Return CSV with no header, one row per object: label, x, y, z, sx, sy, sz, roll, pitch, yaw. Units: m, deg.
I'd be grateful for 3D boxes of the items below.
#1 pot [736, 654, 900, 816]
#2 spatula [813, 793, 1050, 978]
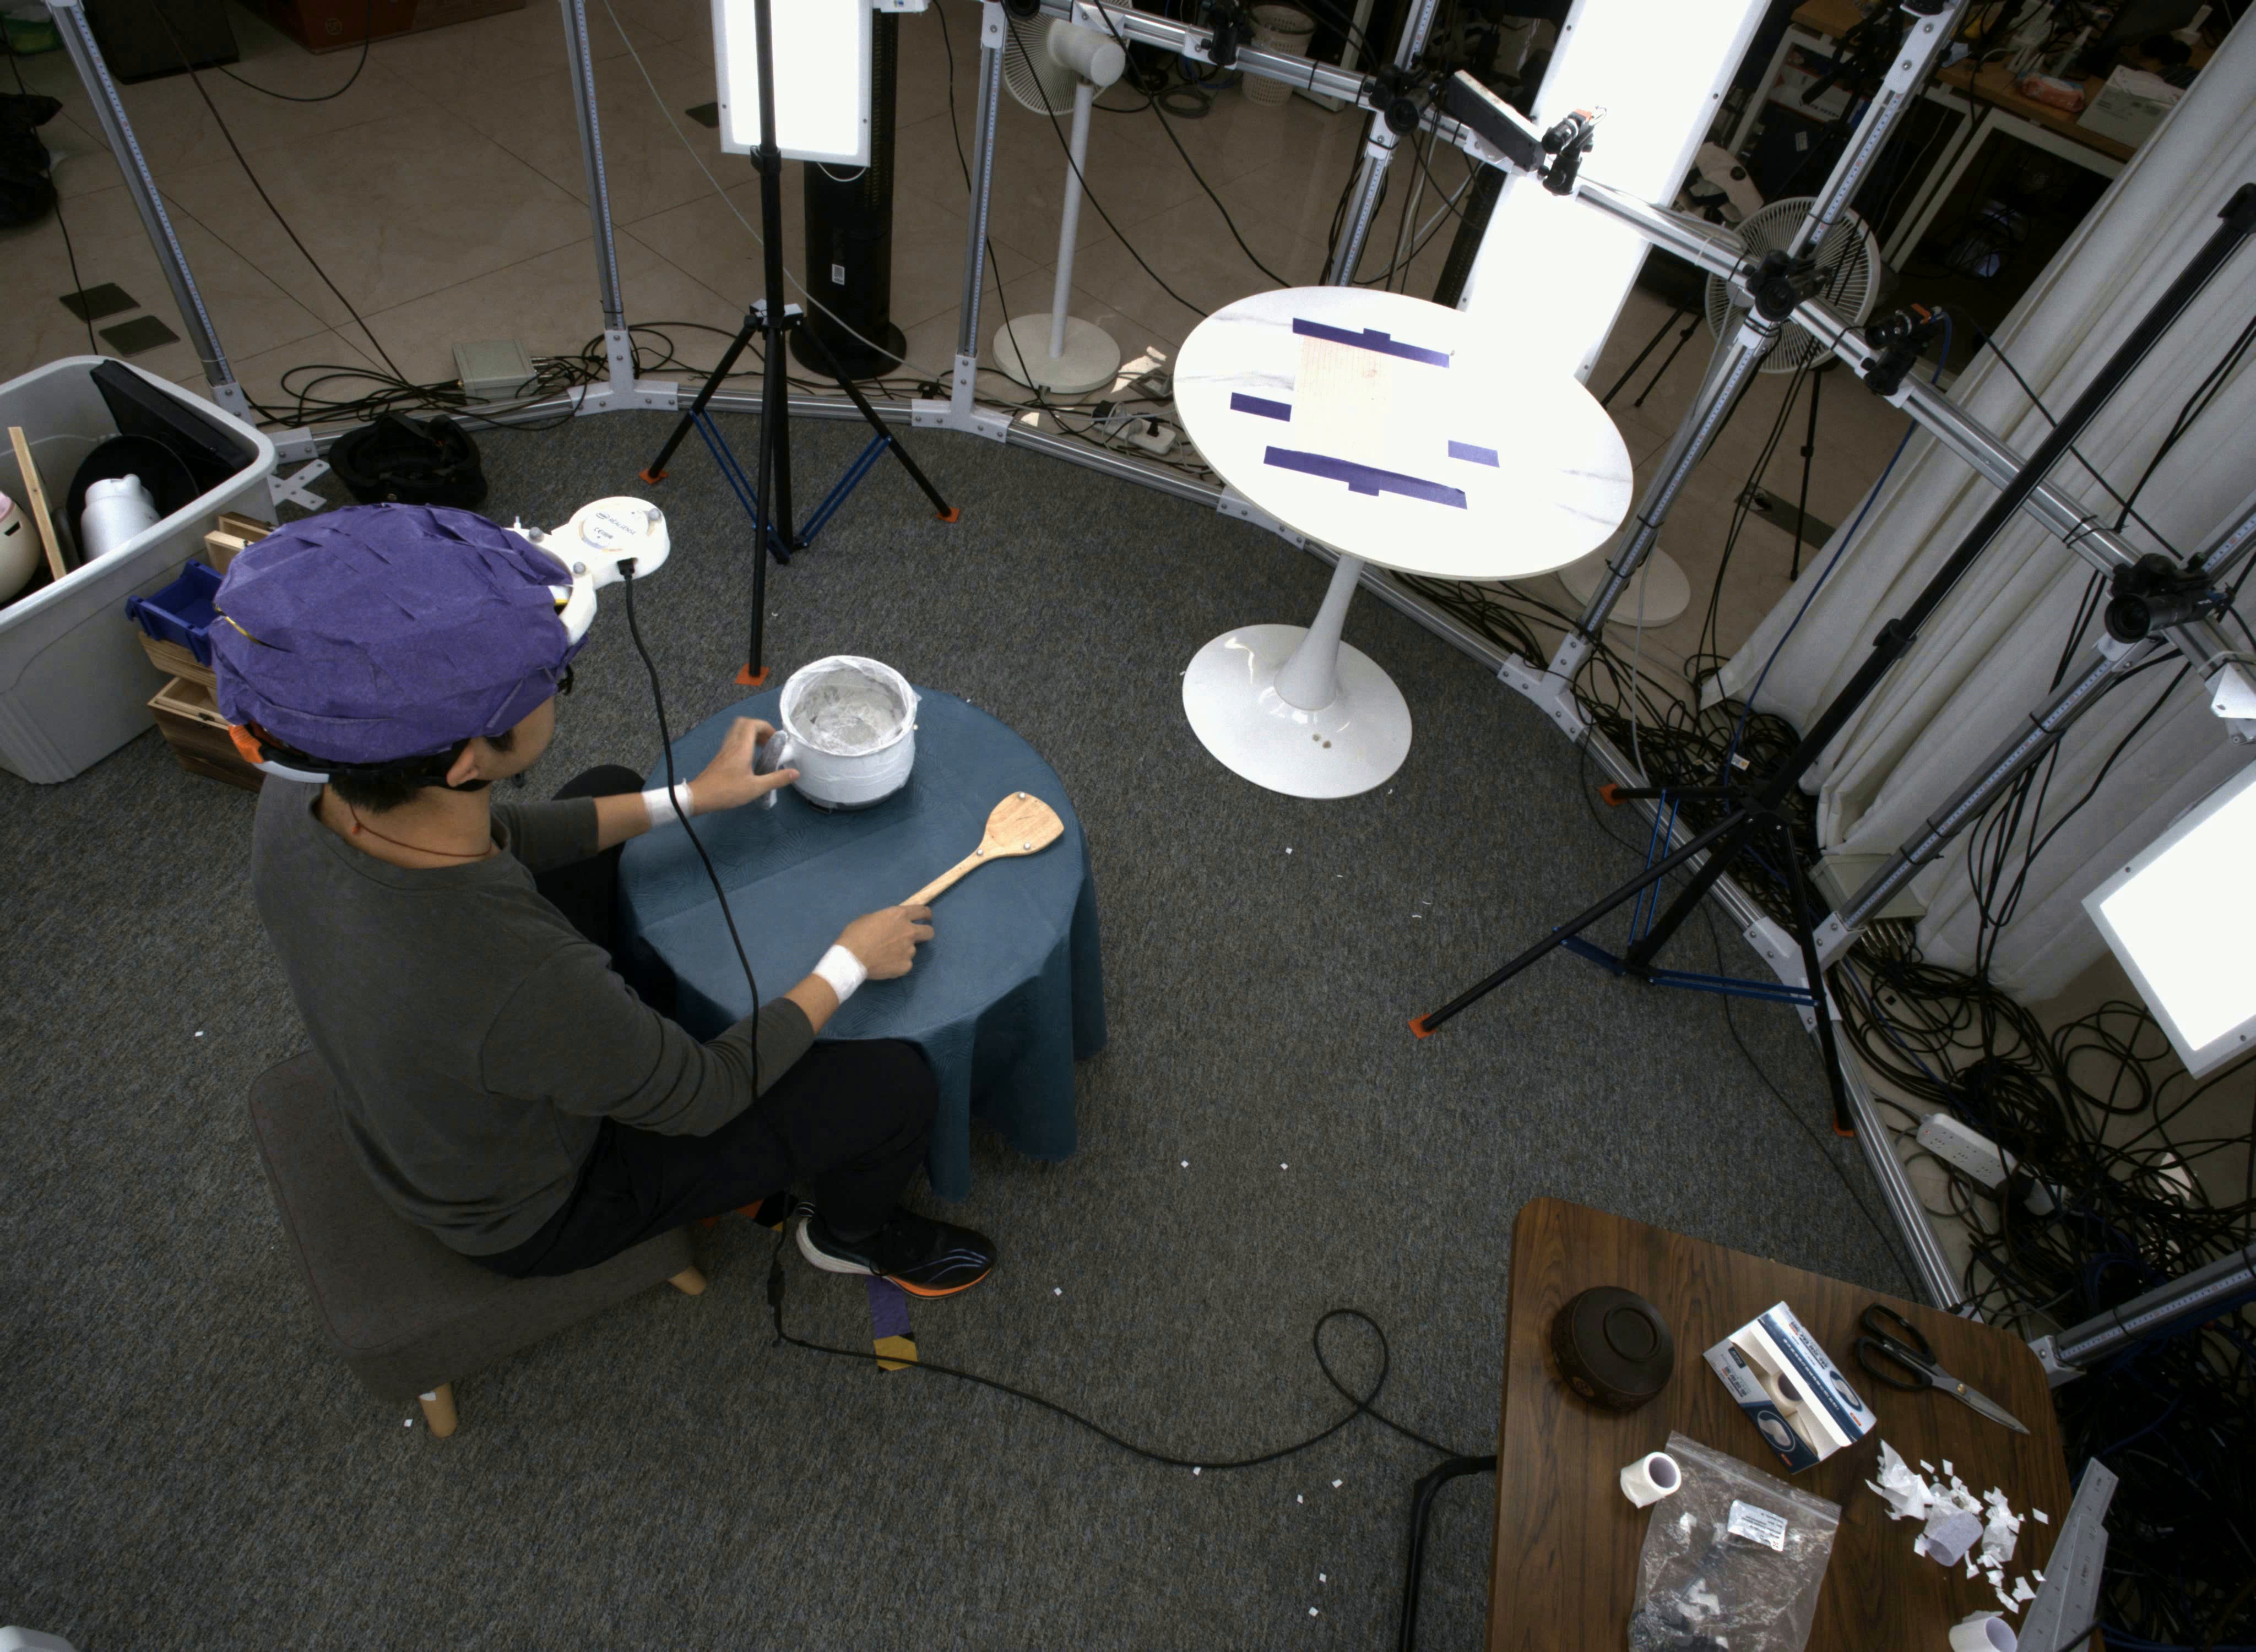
pot,-0.417,-0.108,1.728,0.234,0.139,0.174,-33,66,-32
spatula,-0.258,0.079,1.708,0.093,0.019,0.391,39,54,17
